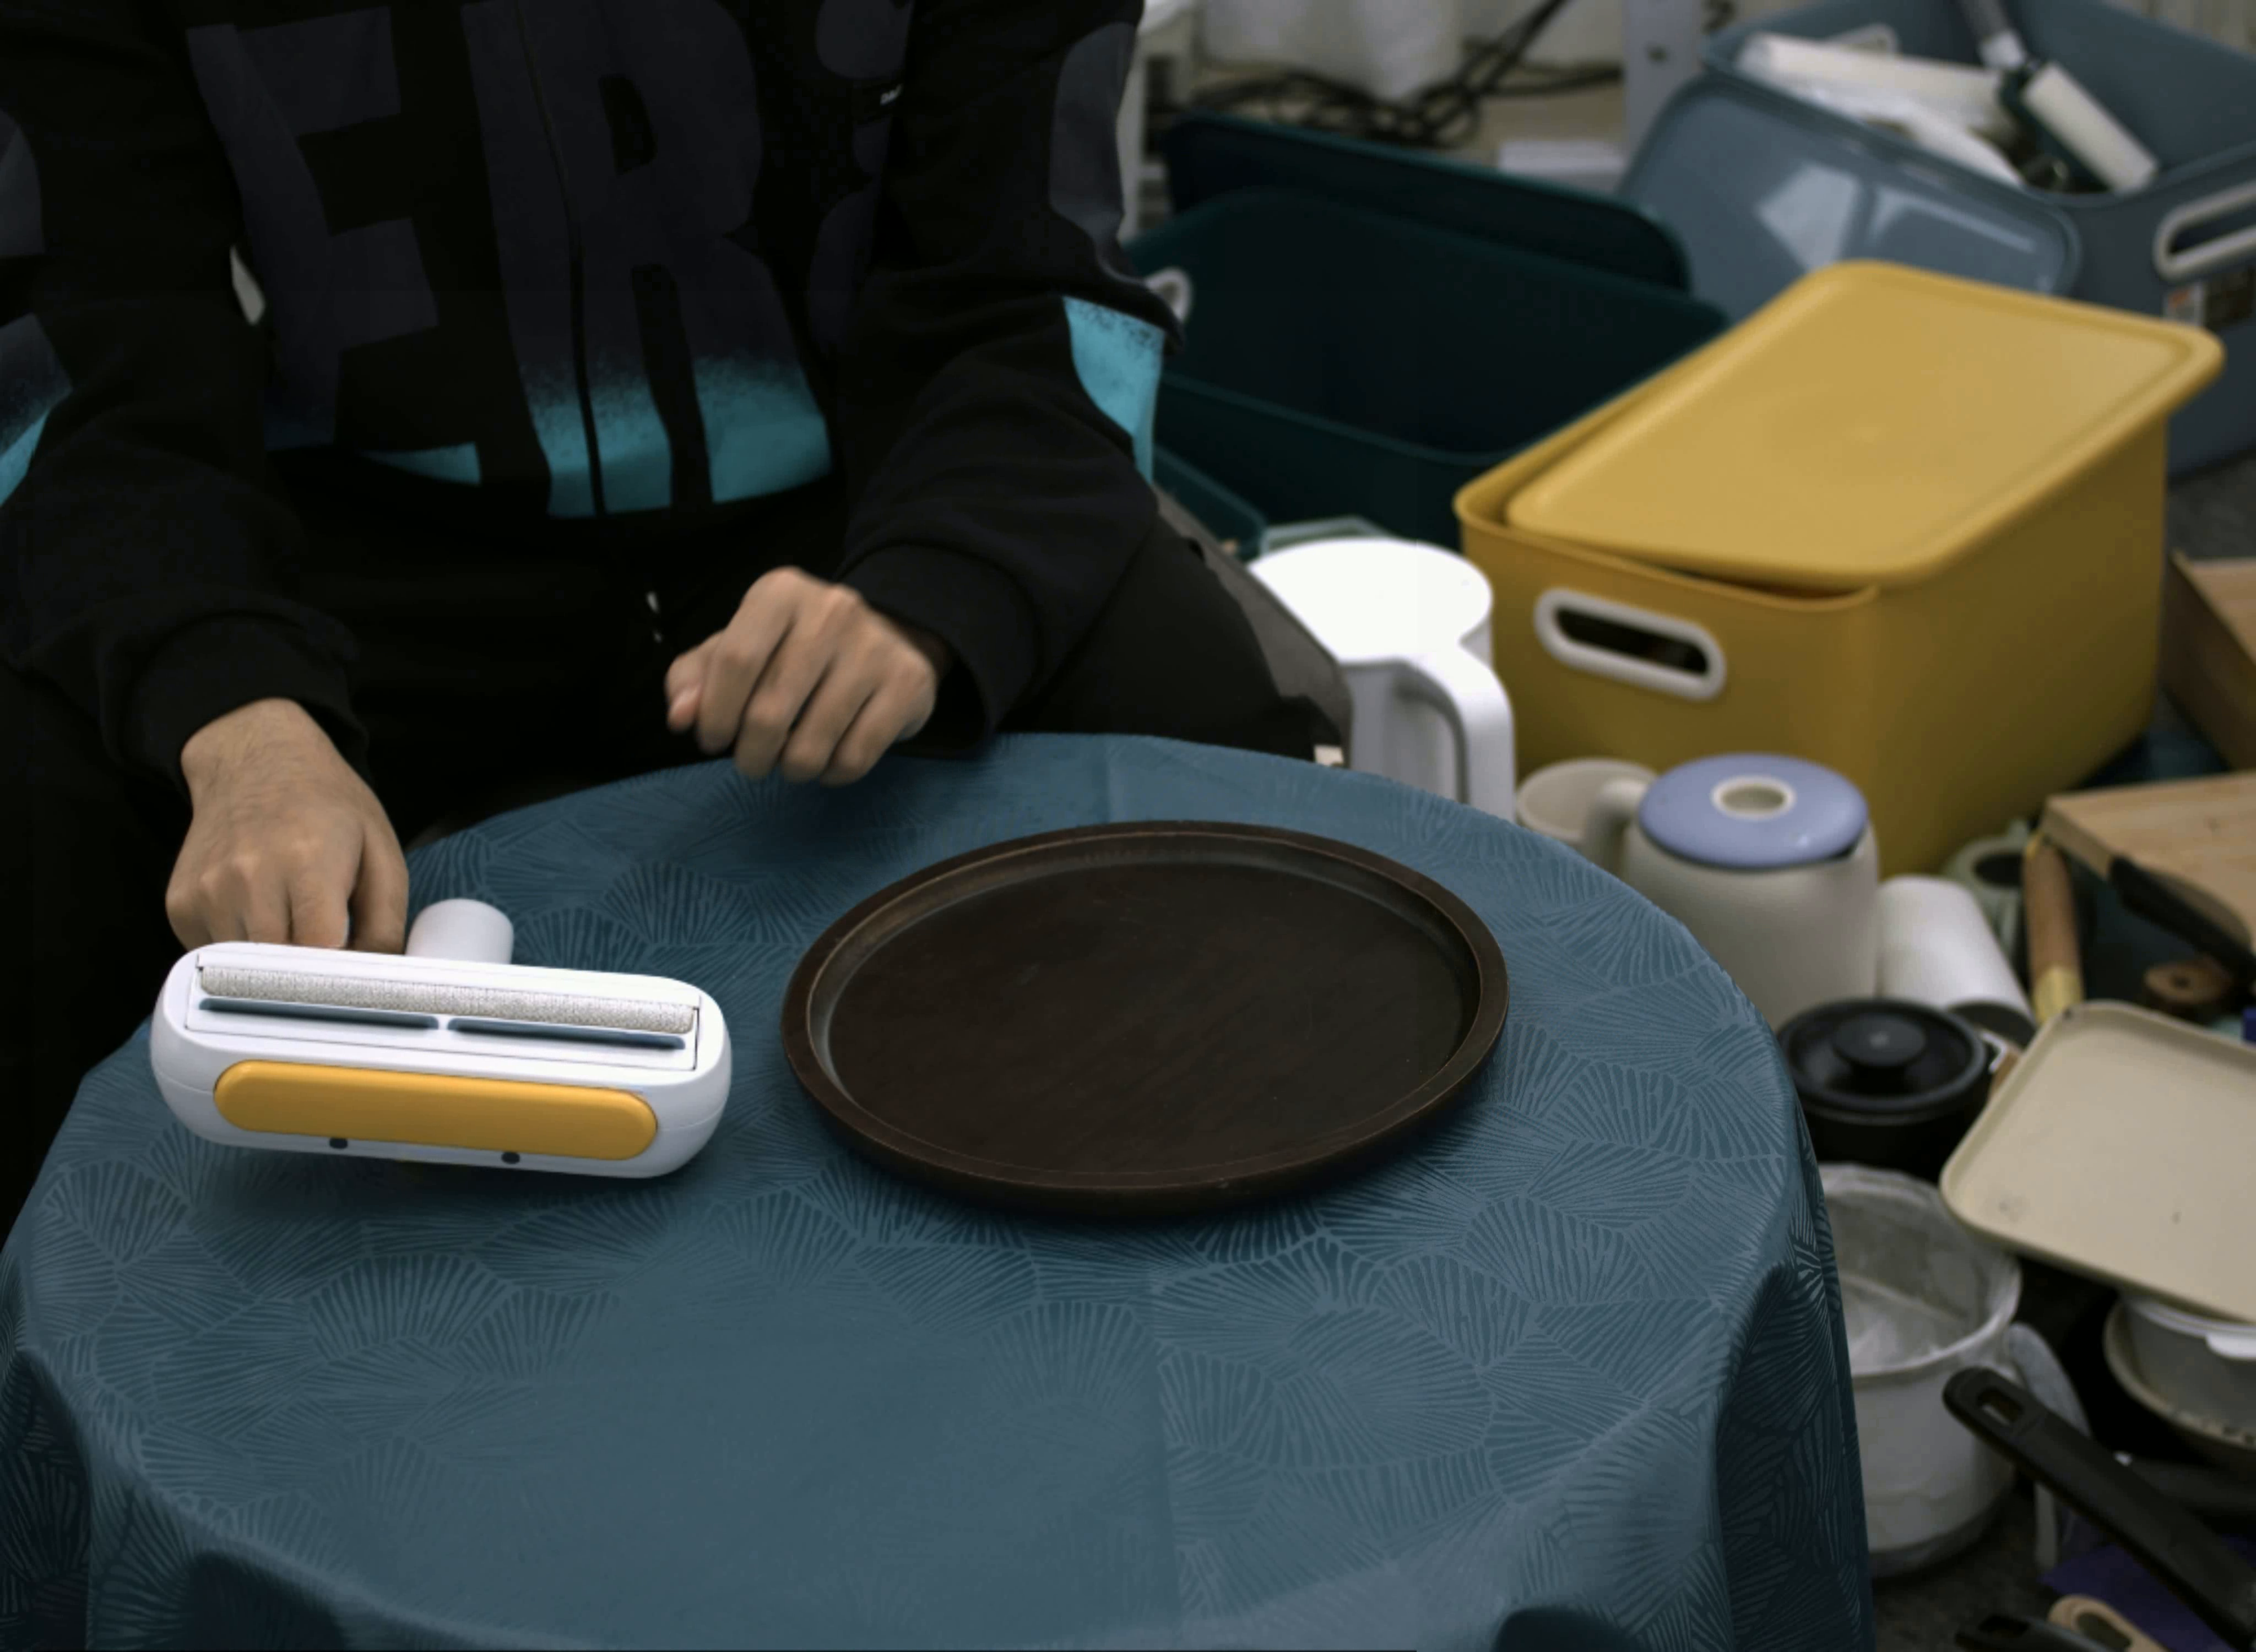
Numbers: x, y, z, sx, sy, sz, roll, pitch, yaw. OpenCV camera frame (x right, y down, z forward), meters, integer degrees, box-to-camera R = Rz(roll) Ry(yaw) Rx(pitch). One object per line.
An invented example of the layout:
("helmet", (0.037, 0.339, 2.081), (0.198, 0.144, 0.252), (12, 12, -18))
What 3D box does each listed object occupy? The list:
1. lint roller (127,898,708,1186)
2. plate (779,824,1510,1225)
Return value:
("lint roller", (-0.236, 0.060, 1.931), (0.192, 0.073, 0.195), (3, 26, 0))
("plate", (0.006, 0.067, 1.940), (0.253, 0.029, 0.258), (-2, 26, 1))
